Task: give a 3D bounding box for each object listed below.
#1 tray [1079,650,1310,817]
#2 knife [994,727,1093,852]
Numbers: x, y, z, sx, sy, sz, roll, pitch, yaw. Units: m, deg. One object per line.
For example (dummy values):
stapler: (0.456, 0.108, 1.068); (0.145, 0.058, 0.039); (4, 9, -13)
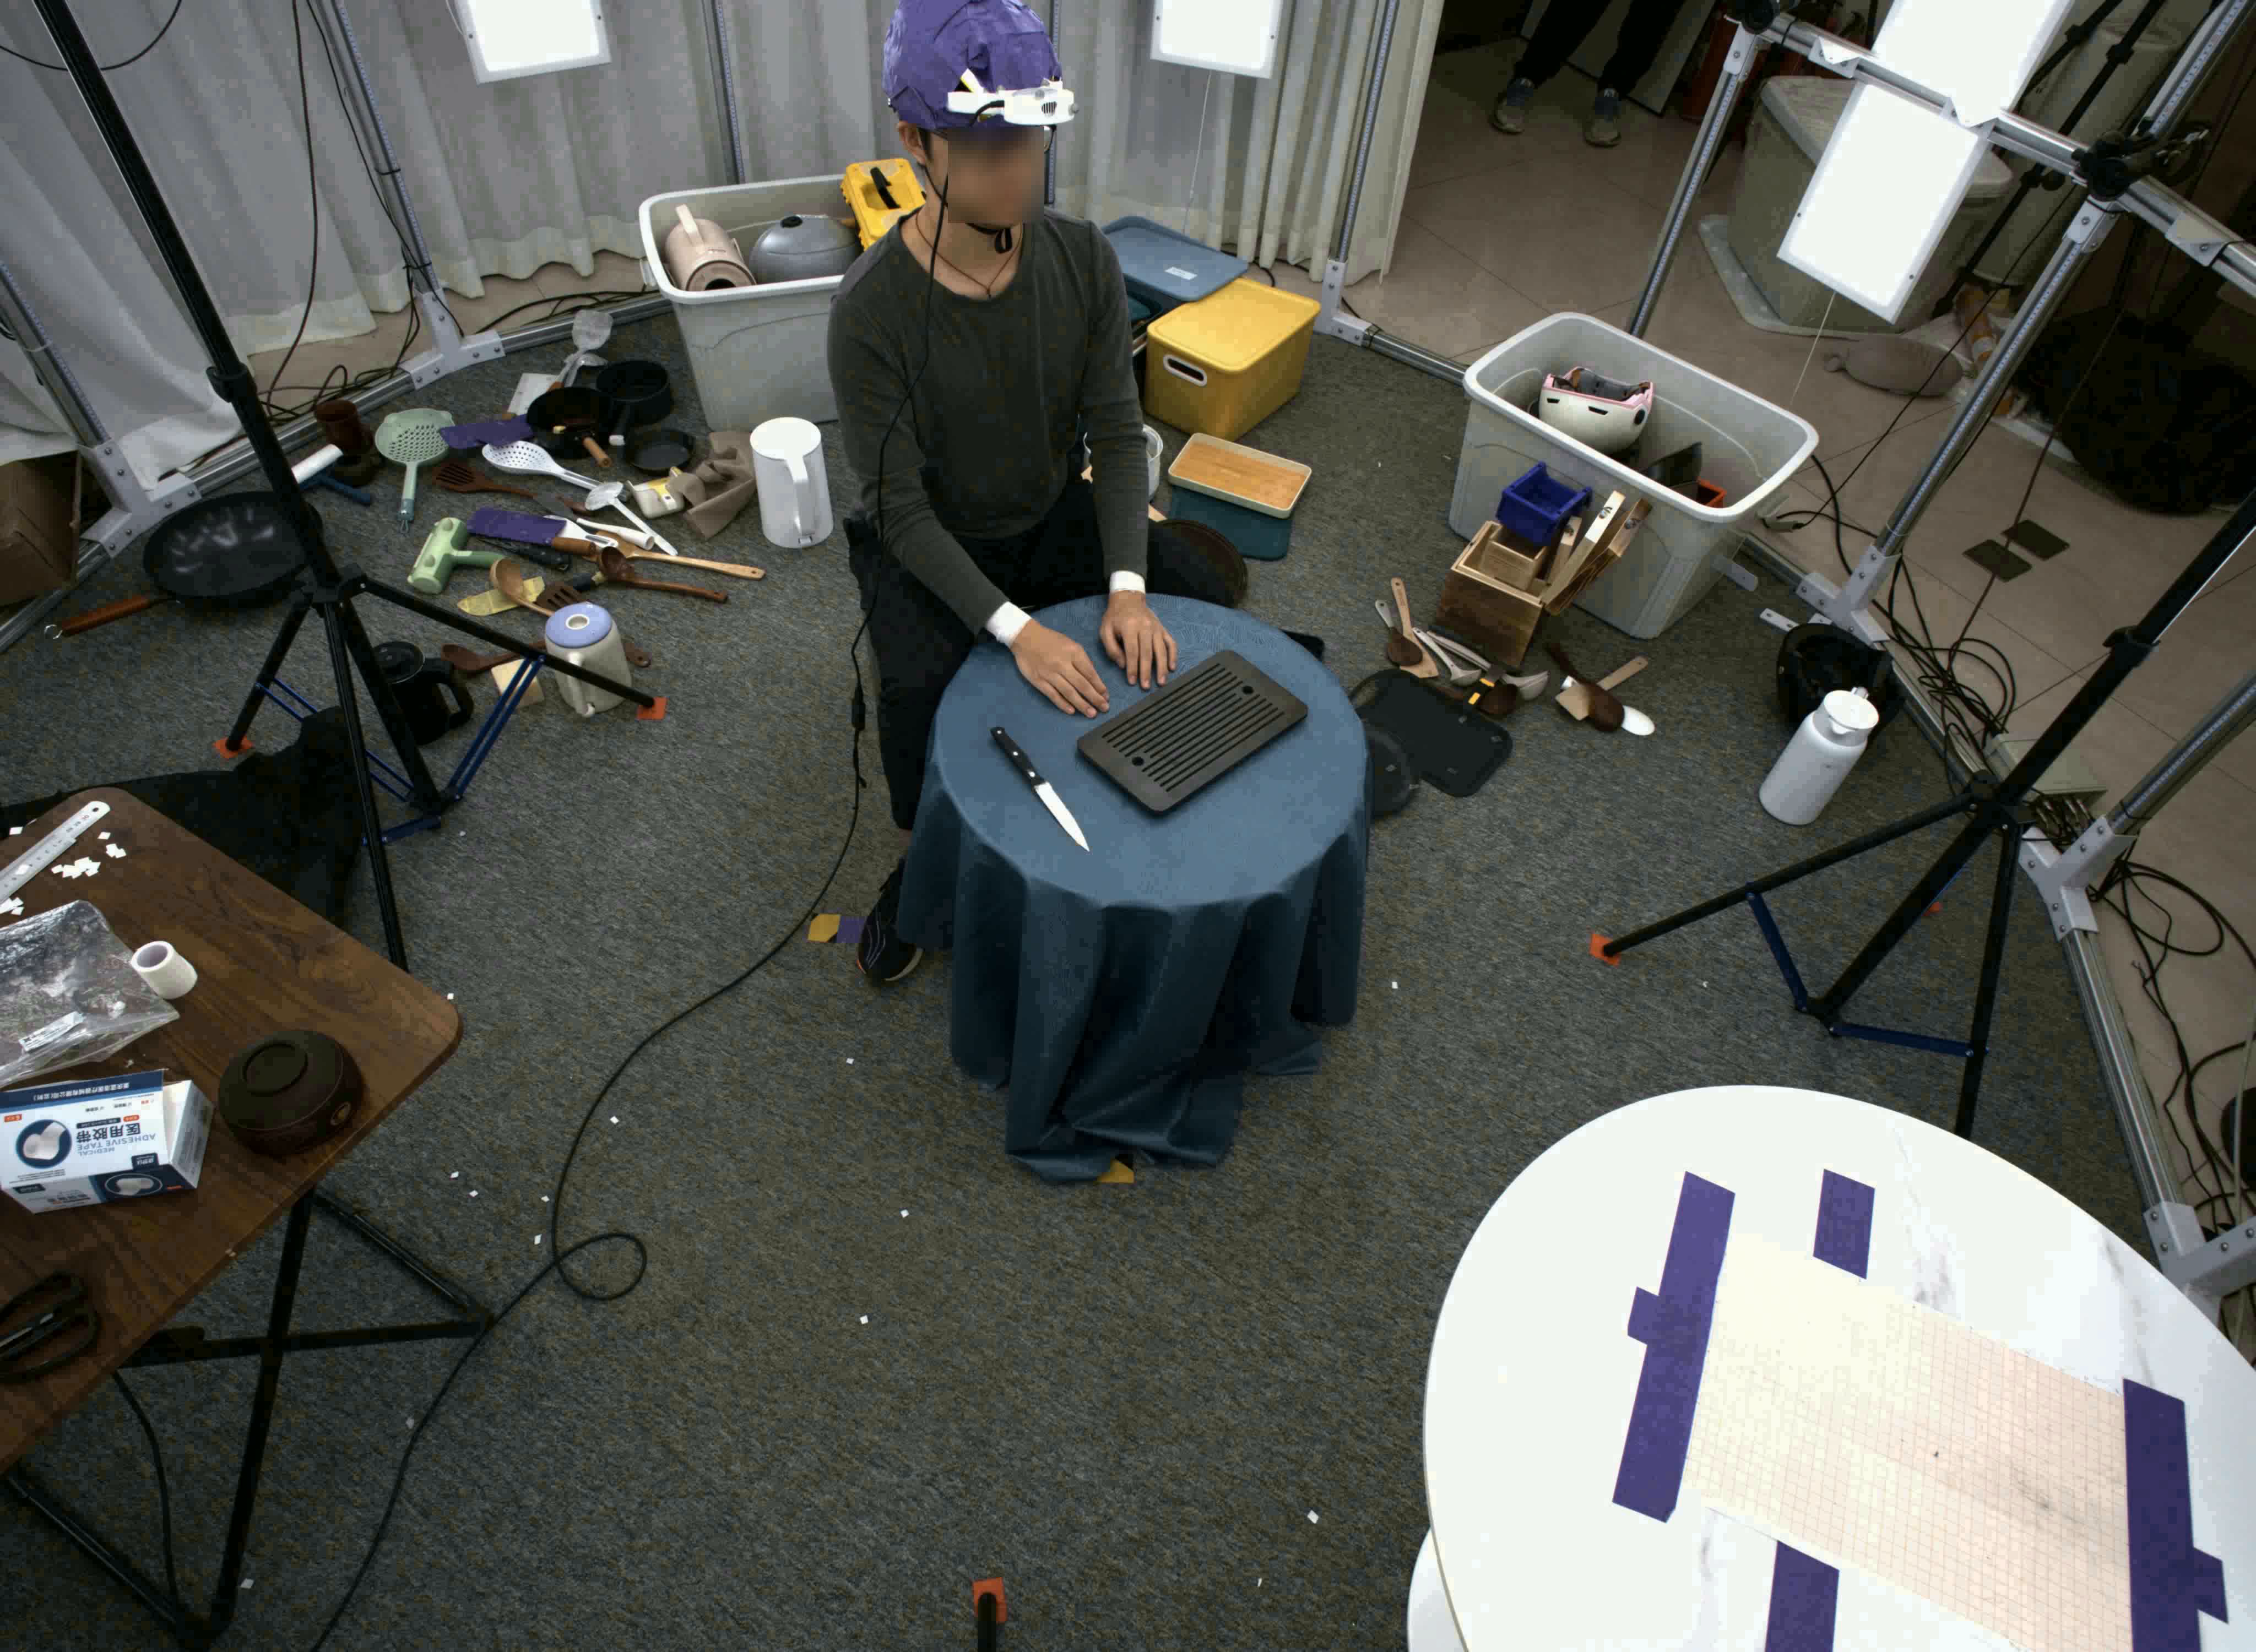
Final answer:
tray: (0.094, -0.132, 1.777); (0.308, 0.018, 0.173); (-34, 59, -29)
knife: (-0.114, -0.048, 1.694); (0.024, 0.016, 0.243); (-26, 58, -21)
